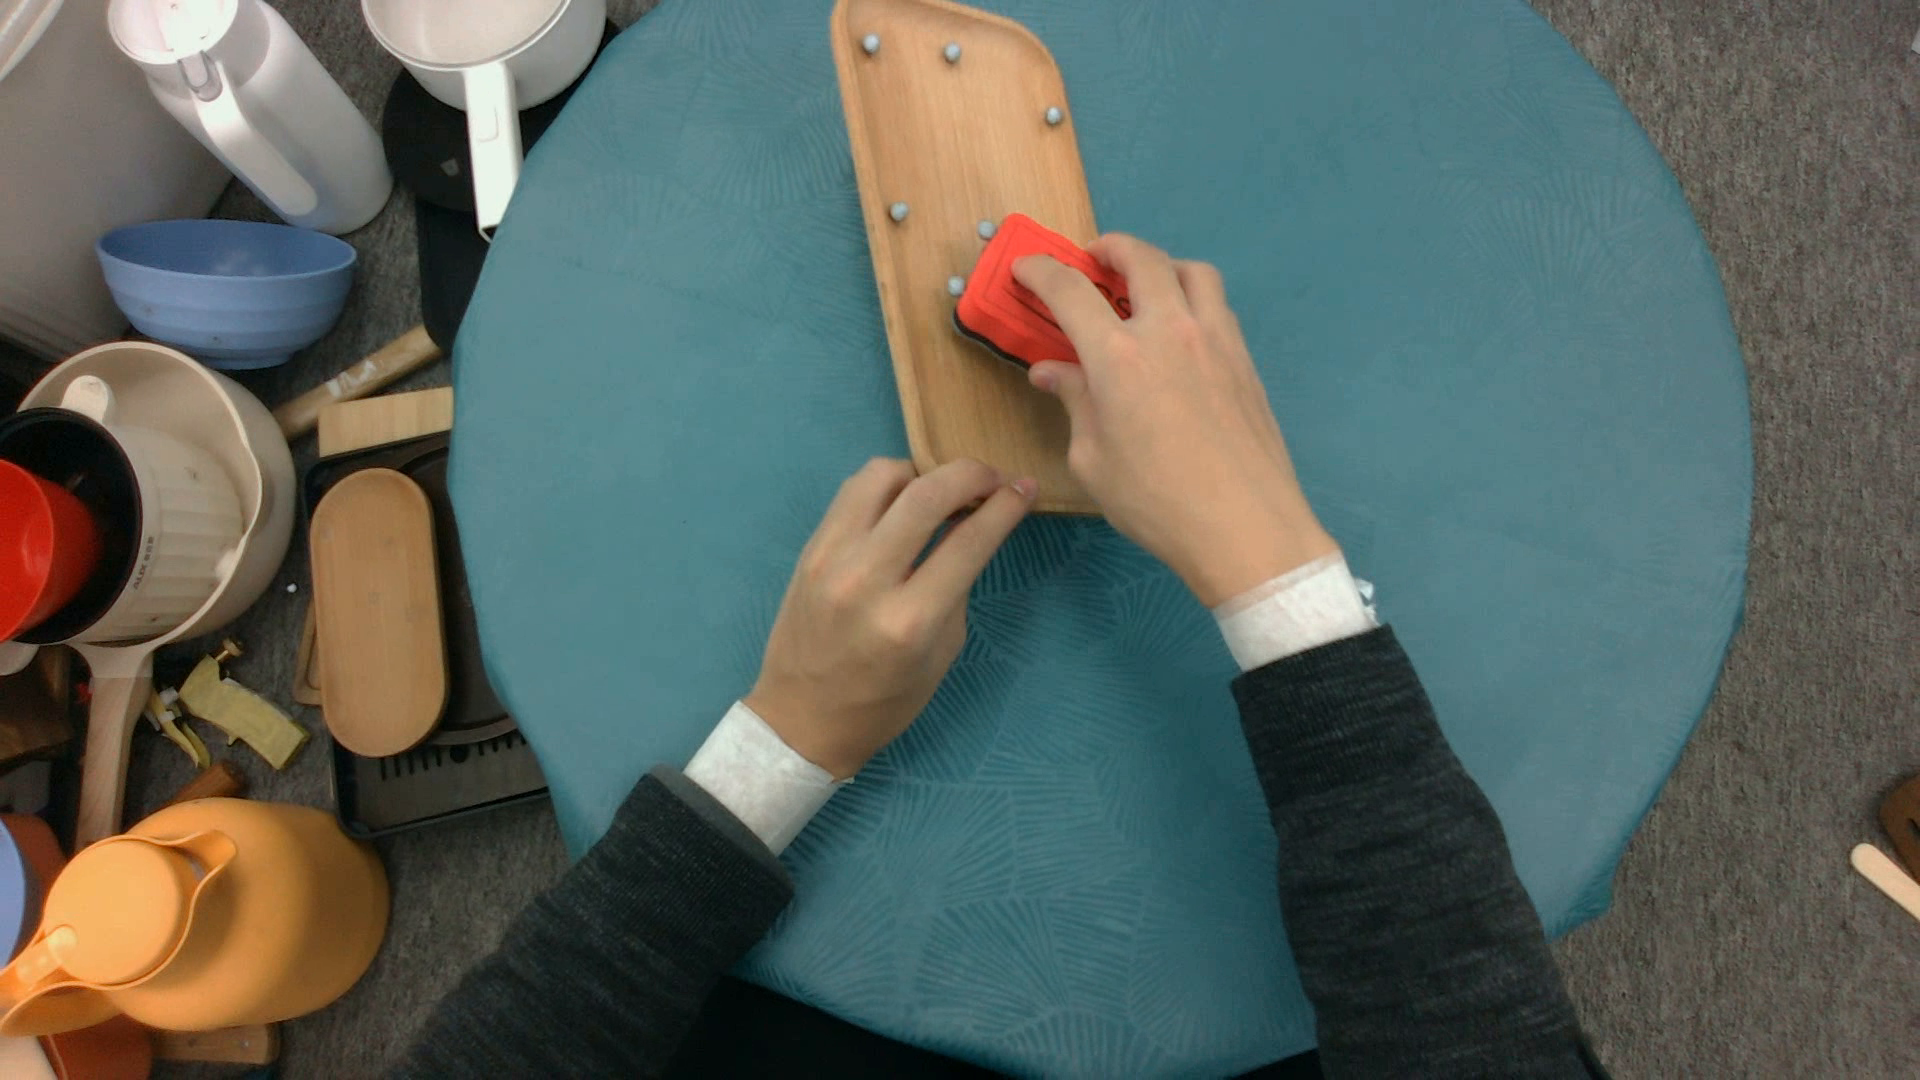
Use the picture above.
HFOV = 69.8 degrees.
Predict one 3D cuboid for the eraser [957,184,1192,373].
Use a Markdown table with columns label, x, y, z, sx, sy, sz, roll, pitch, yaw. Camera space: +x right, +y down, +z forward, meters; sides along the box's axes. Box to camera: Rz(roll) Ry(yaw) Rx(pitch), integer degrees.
| label | x | y | z | sx | sy | sz | roll | pitch | yaw |
| --- | --- | --- | --- | --- | --- | --- | --- | --- | --- |
| eraser | 0.051 | -0.112 | 0.598 | 0.108 | 0.023 | 0.059 | 13 | 65 | -26 |

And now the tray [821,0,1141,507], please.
| label | x | y | z | sx | sy | sz | roll | pitch | yaw |
| --- | --- | --- | --- | --- | --- | --- | --- | --- | --- |
| tray | 0.009 | -0.133 | 0.614 | 0.131 | 0.023 | 0.251 | 1 | 71 | -35 |
